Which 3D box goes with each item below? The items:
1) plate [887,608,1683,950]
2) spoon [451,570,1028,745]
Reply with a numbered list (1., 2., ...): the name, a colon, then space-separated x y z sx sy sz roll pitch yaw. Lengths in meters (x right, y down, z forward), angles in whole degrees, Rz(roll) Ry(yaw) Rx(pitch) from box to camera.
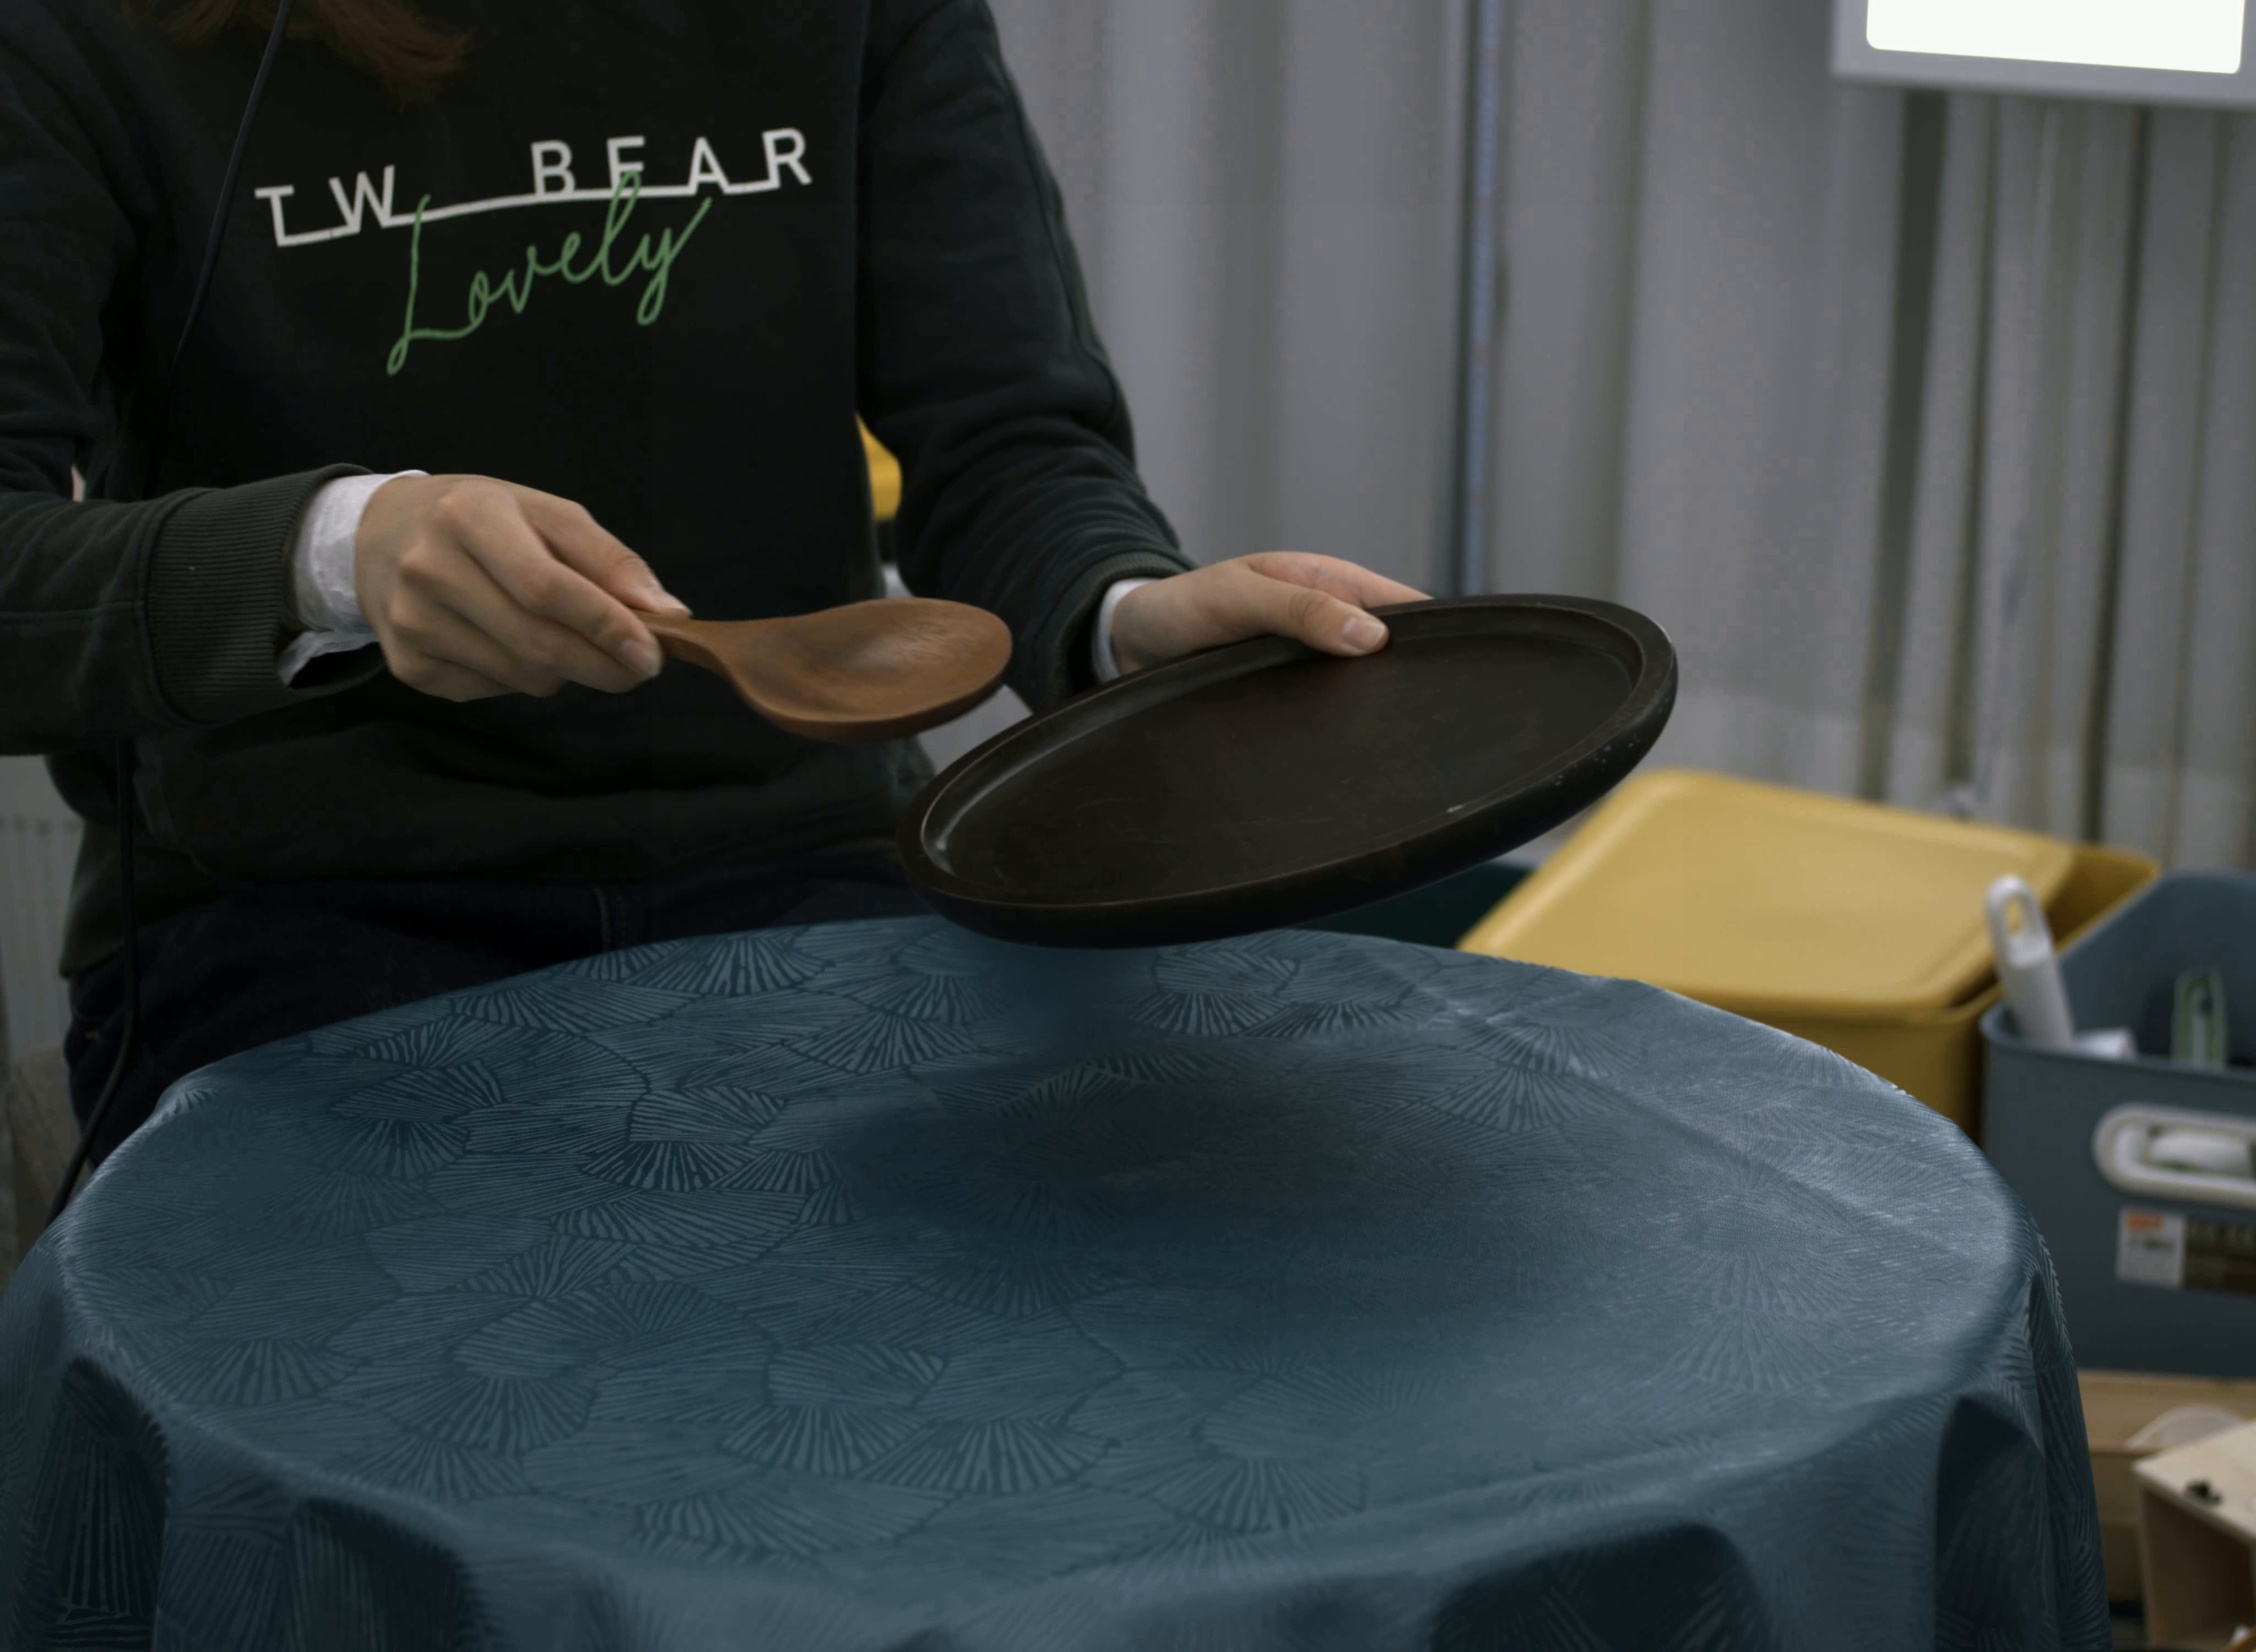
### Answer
1. plate: 0.051 -0.017 1.651 0.254 0.029 0.253 -12 18 5
2. spoon: -0.121 -0.055 1.590 0.213 0.017 0.075 11 38 34
